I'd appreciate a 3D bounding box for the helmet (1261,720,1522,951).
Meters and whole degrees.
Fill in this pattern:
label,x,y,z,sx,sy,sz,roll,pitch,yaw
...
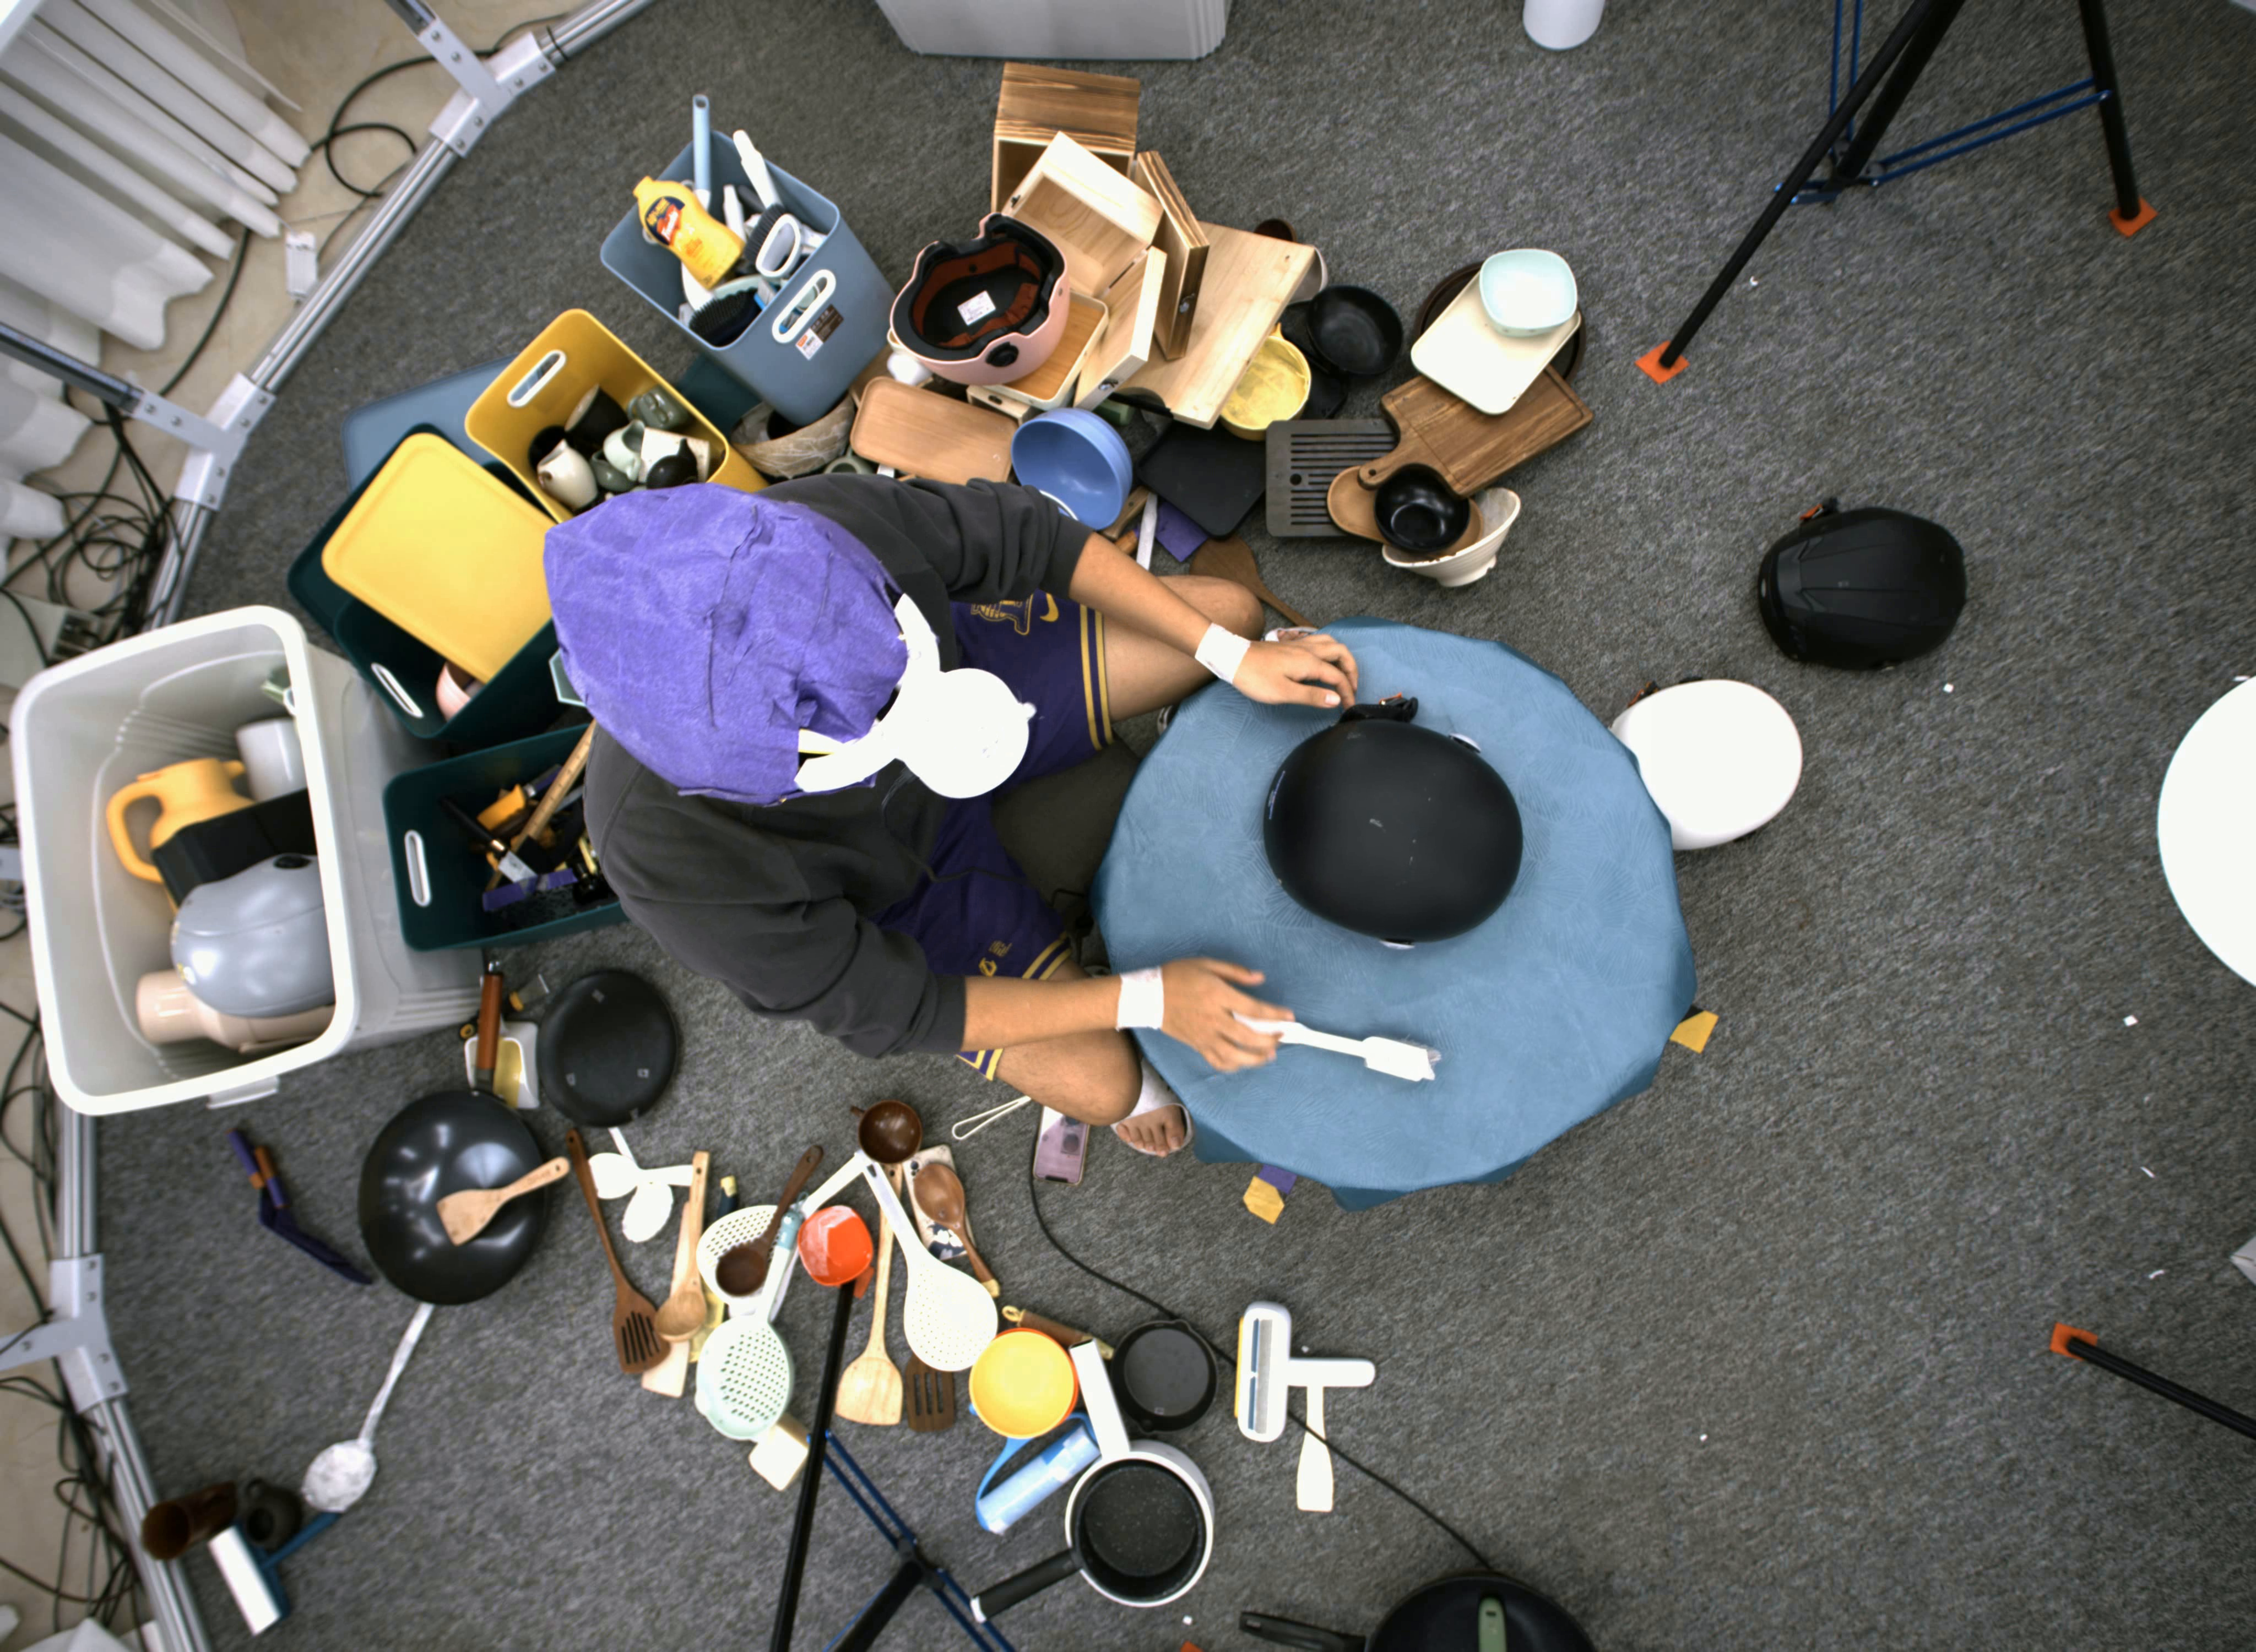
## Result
label,x,y,z,sx,sy,sz,roll,pitch,yaw
helmet,0.267,0.004,1.384,0.273,0.166,0.230,21,93,9

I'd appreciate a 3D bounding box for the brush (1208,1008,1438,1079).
label,x,y,z,sx,sy,sz,roll,pitch,yaw
brush,0.203,0.223,1.452,0.244,0.050,0.034,9,90,24
